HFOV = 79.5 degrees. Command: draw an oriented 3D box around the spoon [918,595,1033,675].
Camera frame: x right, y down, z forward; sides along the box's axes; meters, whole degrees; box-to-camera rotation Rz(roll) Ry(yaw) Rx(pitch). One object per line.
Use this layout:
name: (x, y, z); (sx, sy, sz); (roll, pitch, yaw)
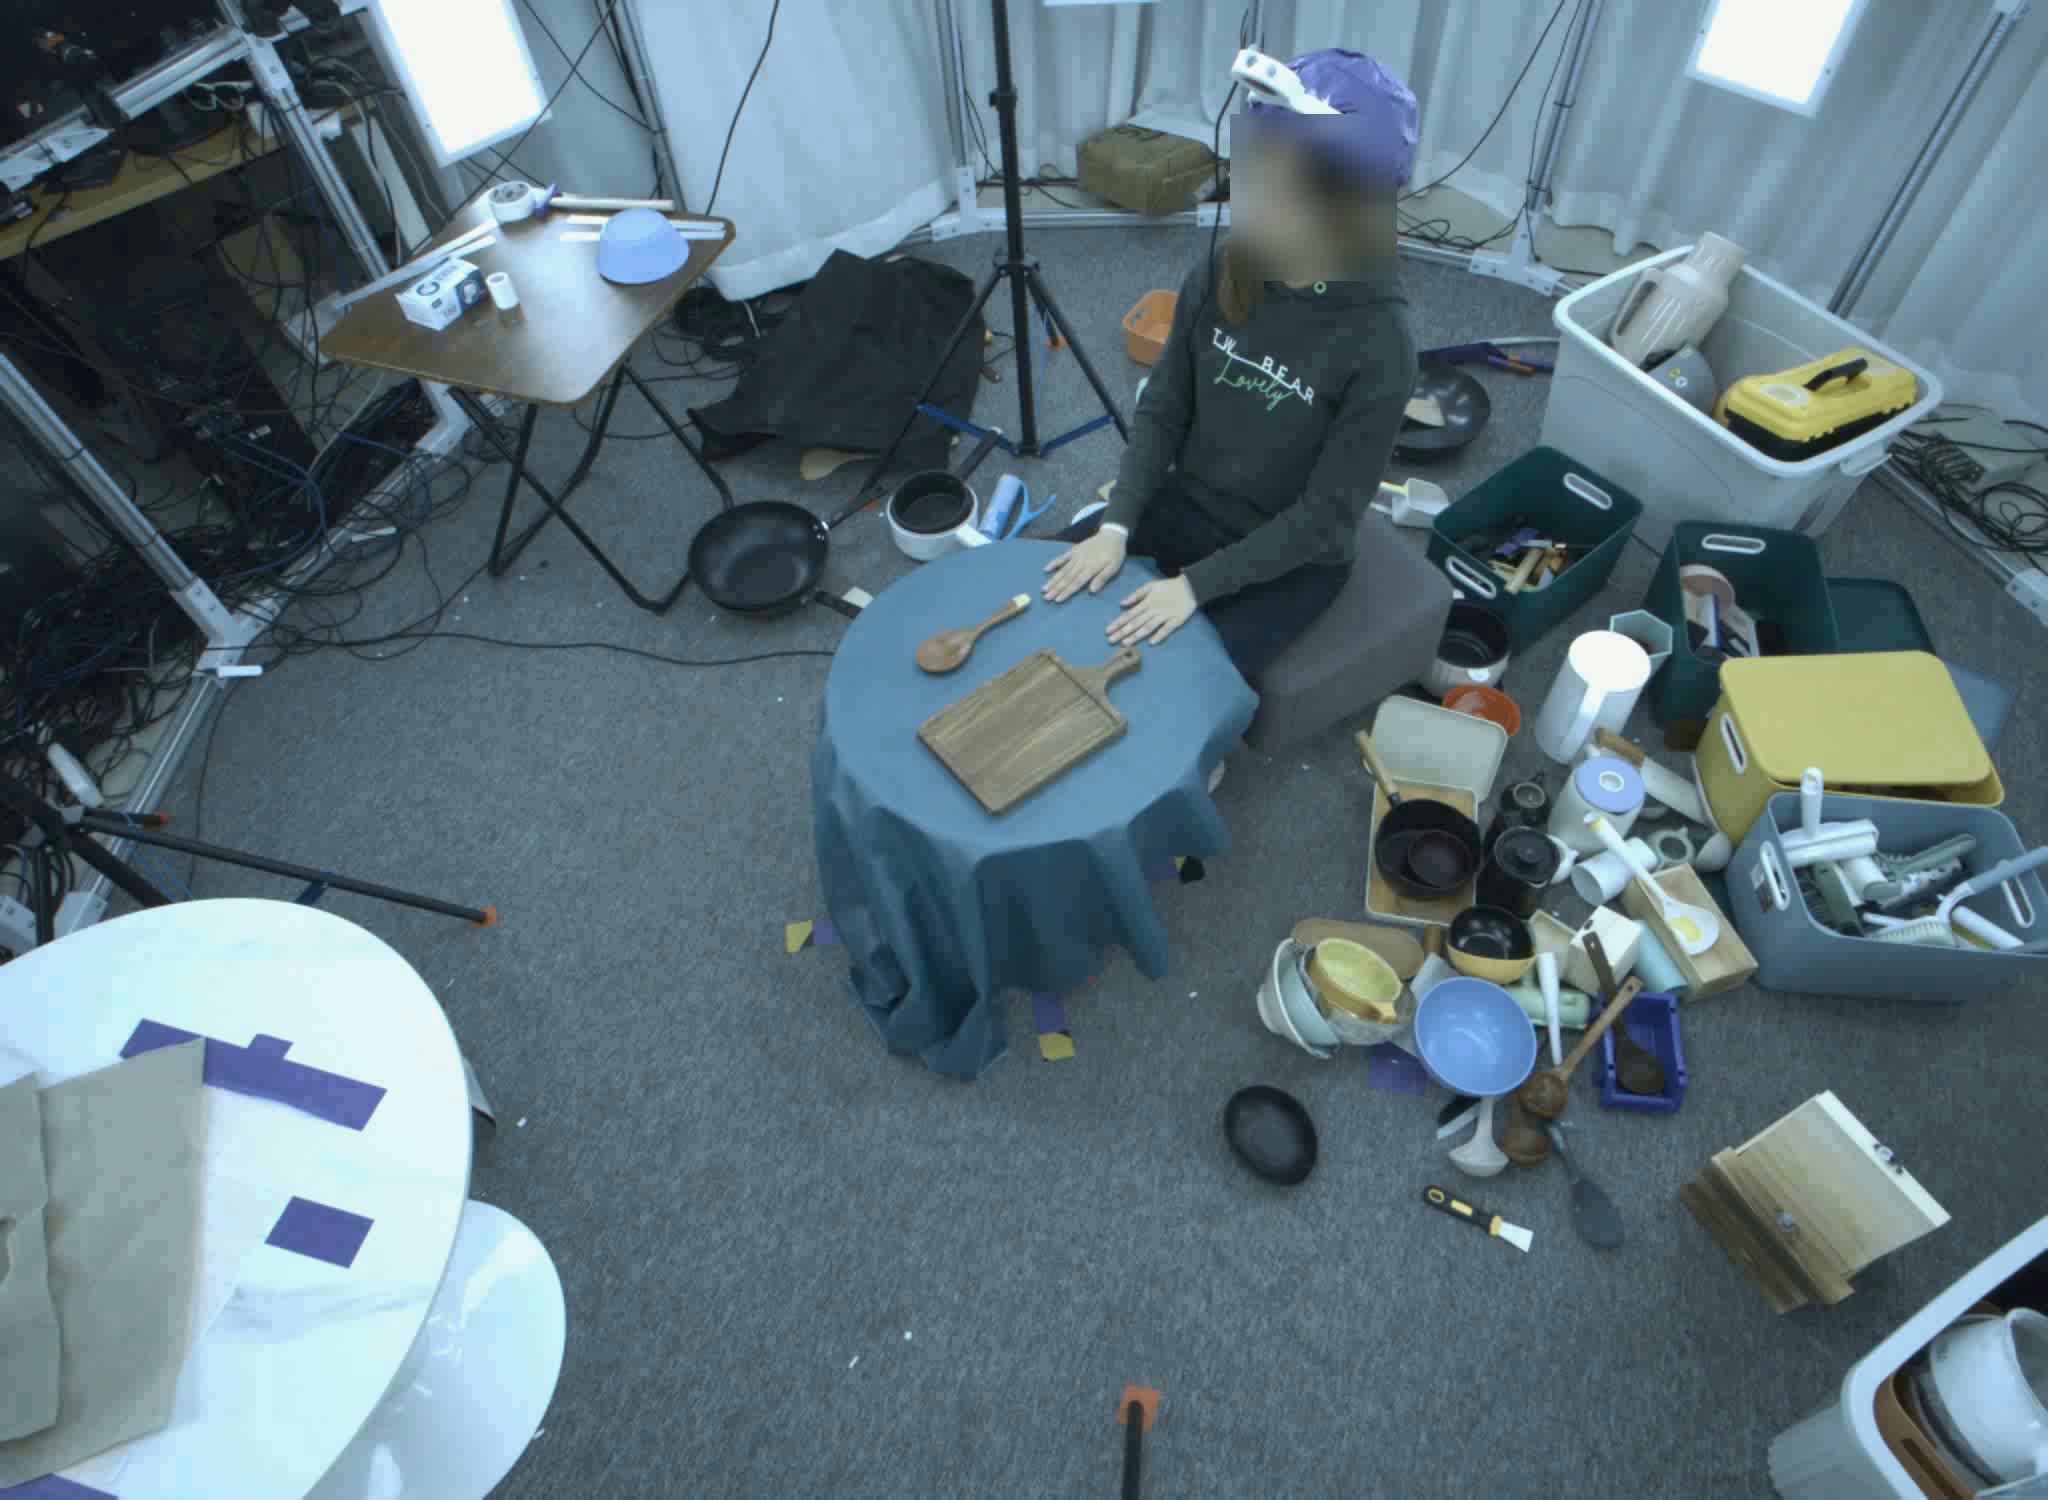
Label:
spoon: (-0.073, -0.180, 1.916); (0.217, 0.017, 0.074); (-36, 59, -20)

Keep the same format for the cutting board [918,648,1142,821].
cutting board: (0.038, -0.052, 1.823); (0.355, 0.023, 0.197); (-34, 60, -20)
